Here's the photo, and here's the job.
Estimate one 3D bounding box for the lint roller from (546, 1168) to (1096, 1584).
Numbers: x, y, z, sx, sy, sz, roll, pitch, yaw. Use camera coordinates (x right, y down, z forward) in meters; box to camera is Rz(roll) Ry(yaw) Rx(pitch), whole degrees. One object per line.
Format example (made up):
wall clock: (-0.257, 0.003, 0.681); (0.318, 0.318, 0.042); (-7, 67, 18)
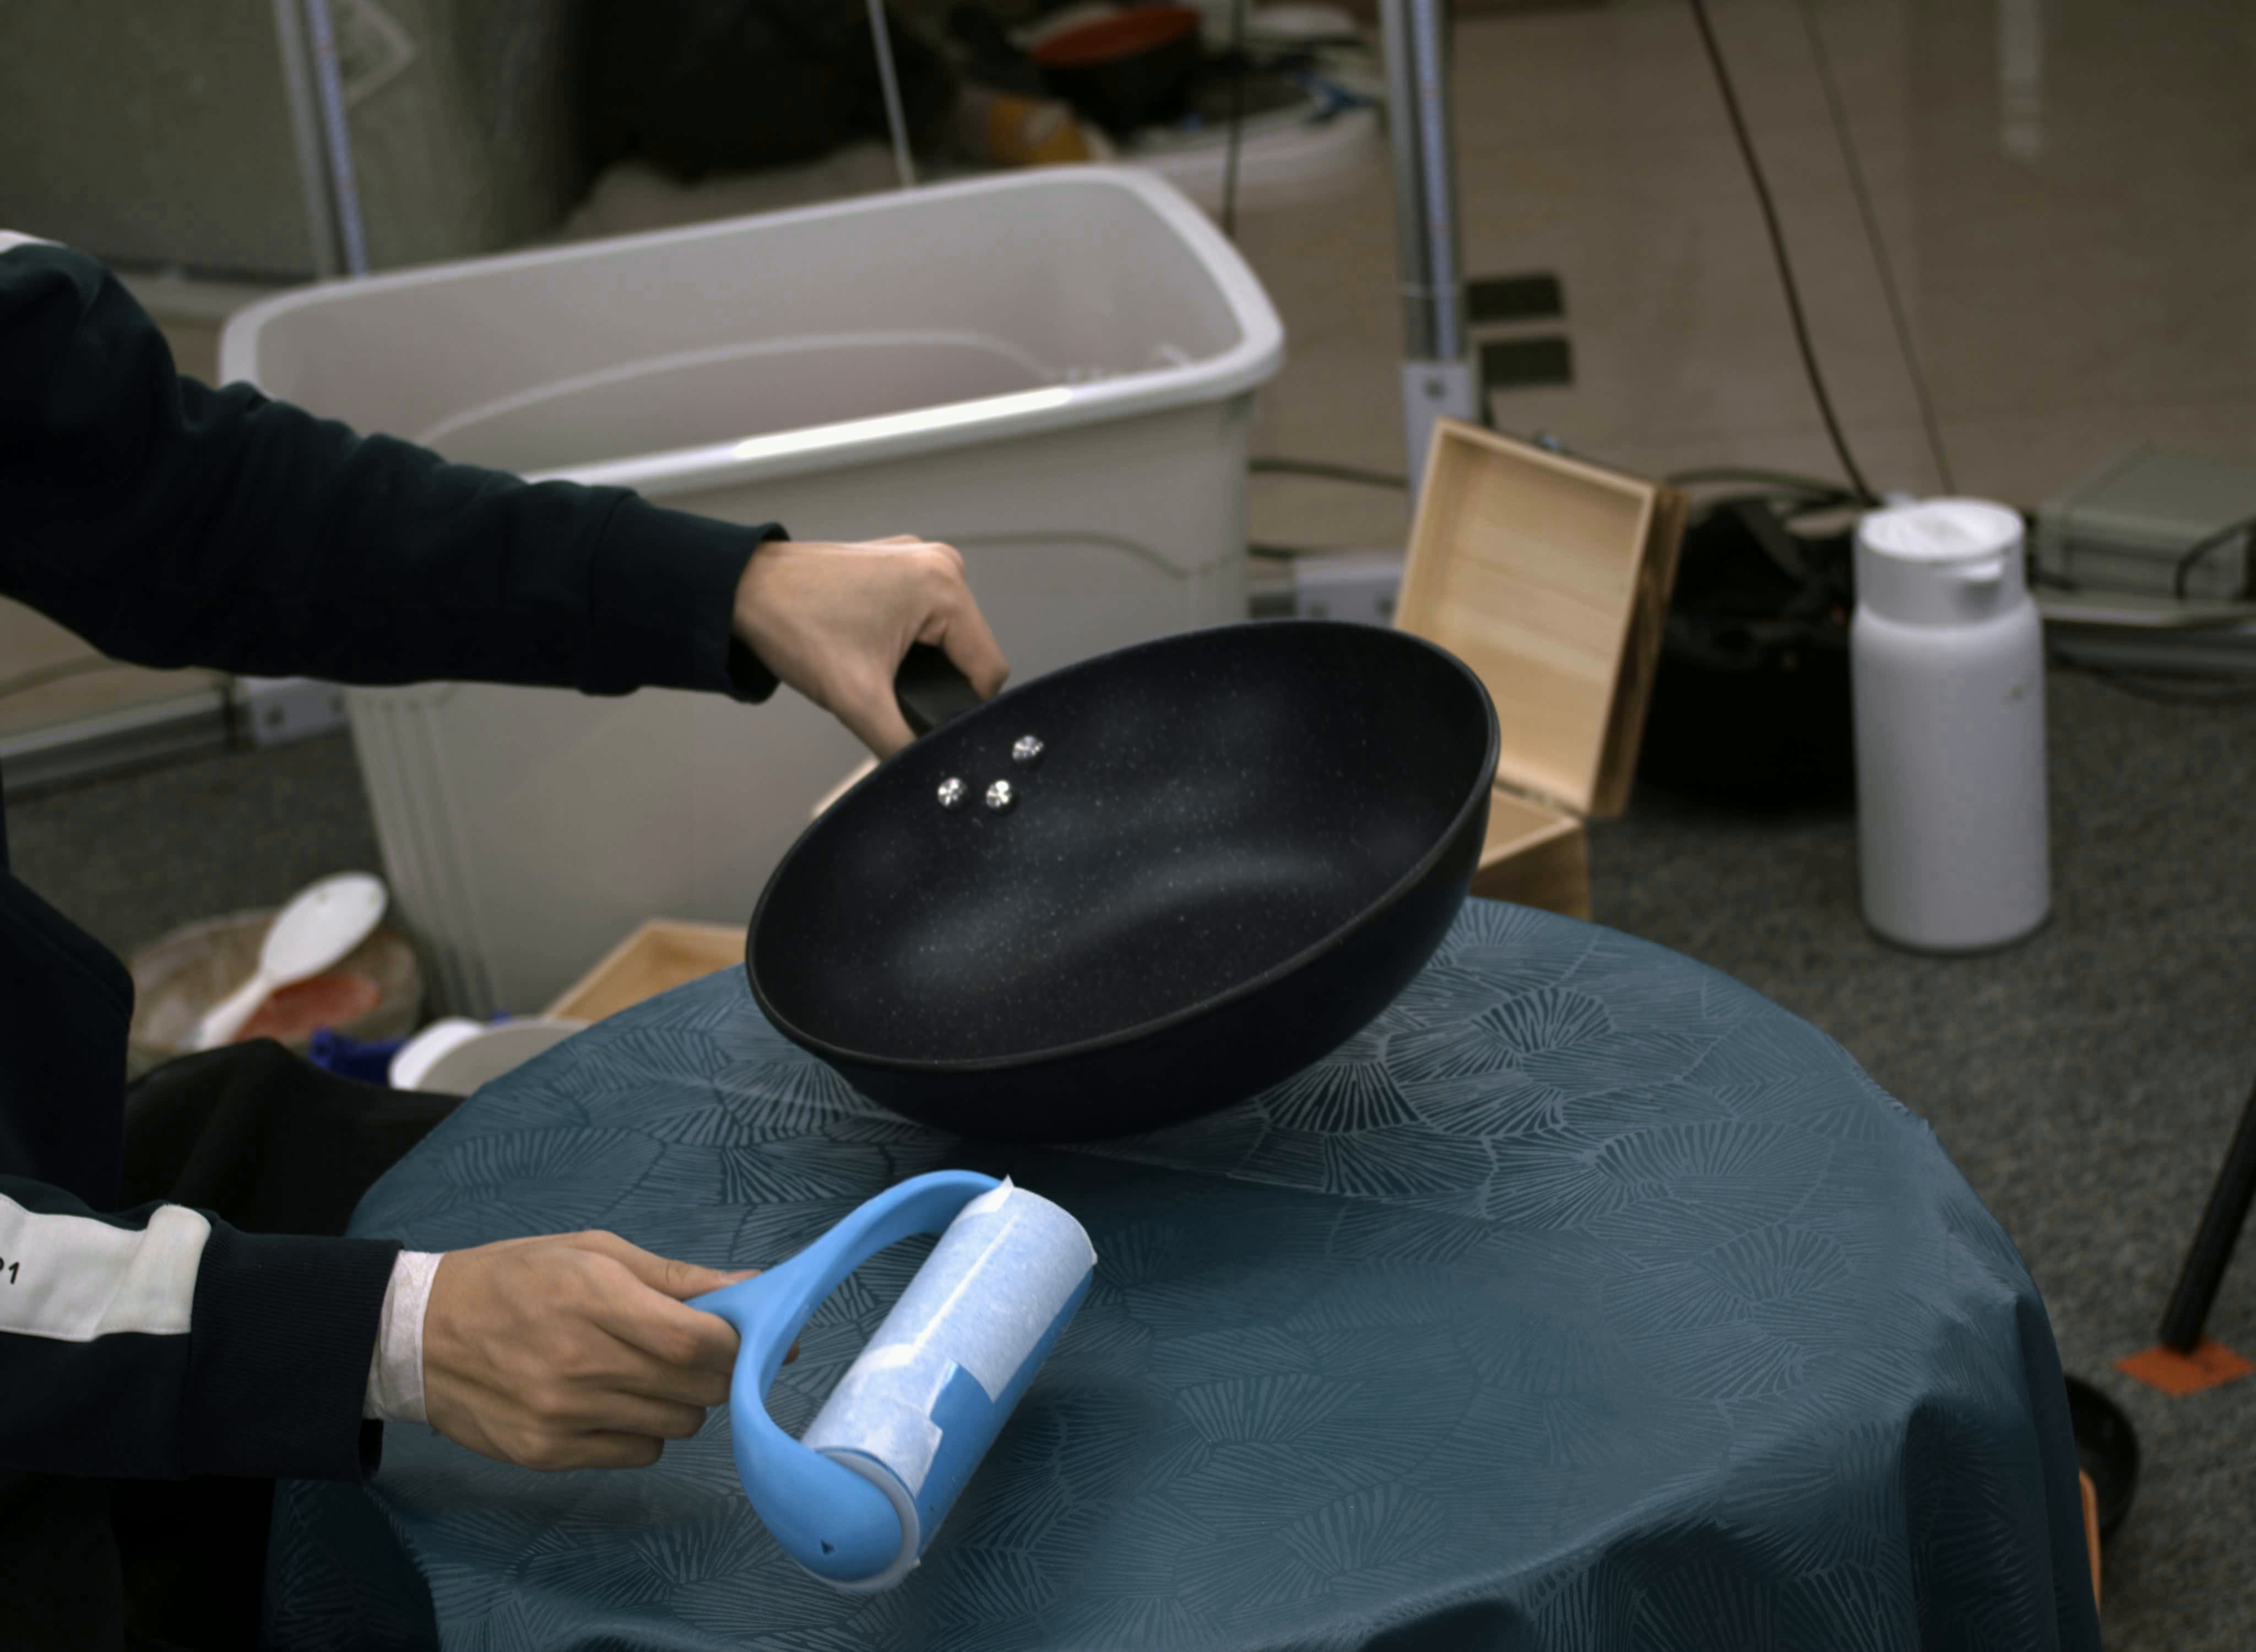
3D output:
lint roller: (-0.119, 0.187, 1.937); (0.180, 0.069, 0.226); (-2, 24, 15)

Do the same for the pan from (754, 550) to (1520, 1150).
pan: (-0.027, 0.003, 2.267); (0.308, 0.113, 0.471); (-29, 29, -15)
